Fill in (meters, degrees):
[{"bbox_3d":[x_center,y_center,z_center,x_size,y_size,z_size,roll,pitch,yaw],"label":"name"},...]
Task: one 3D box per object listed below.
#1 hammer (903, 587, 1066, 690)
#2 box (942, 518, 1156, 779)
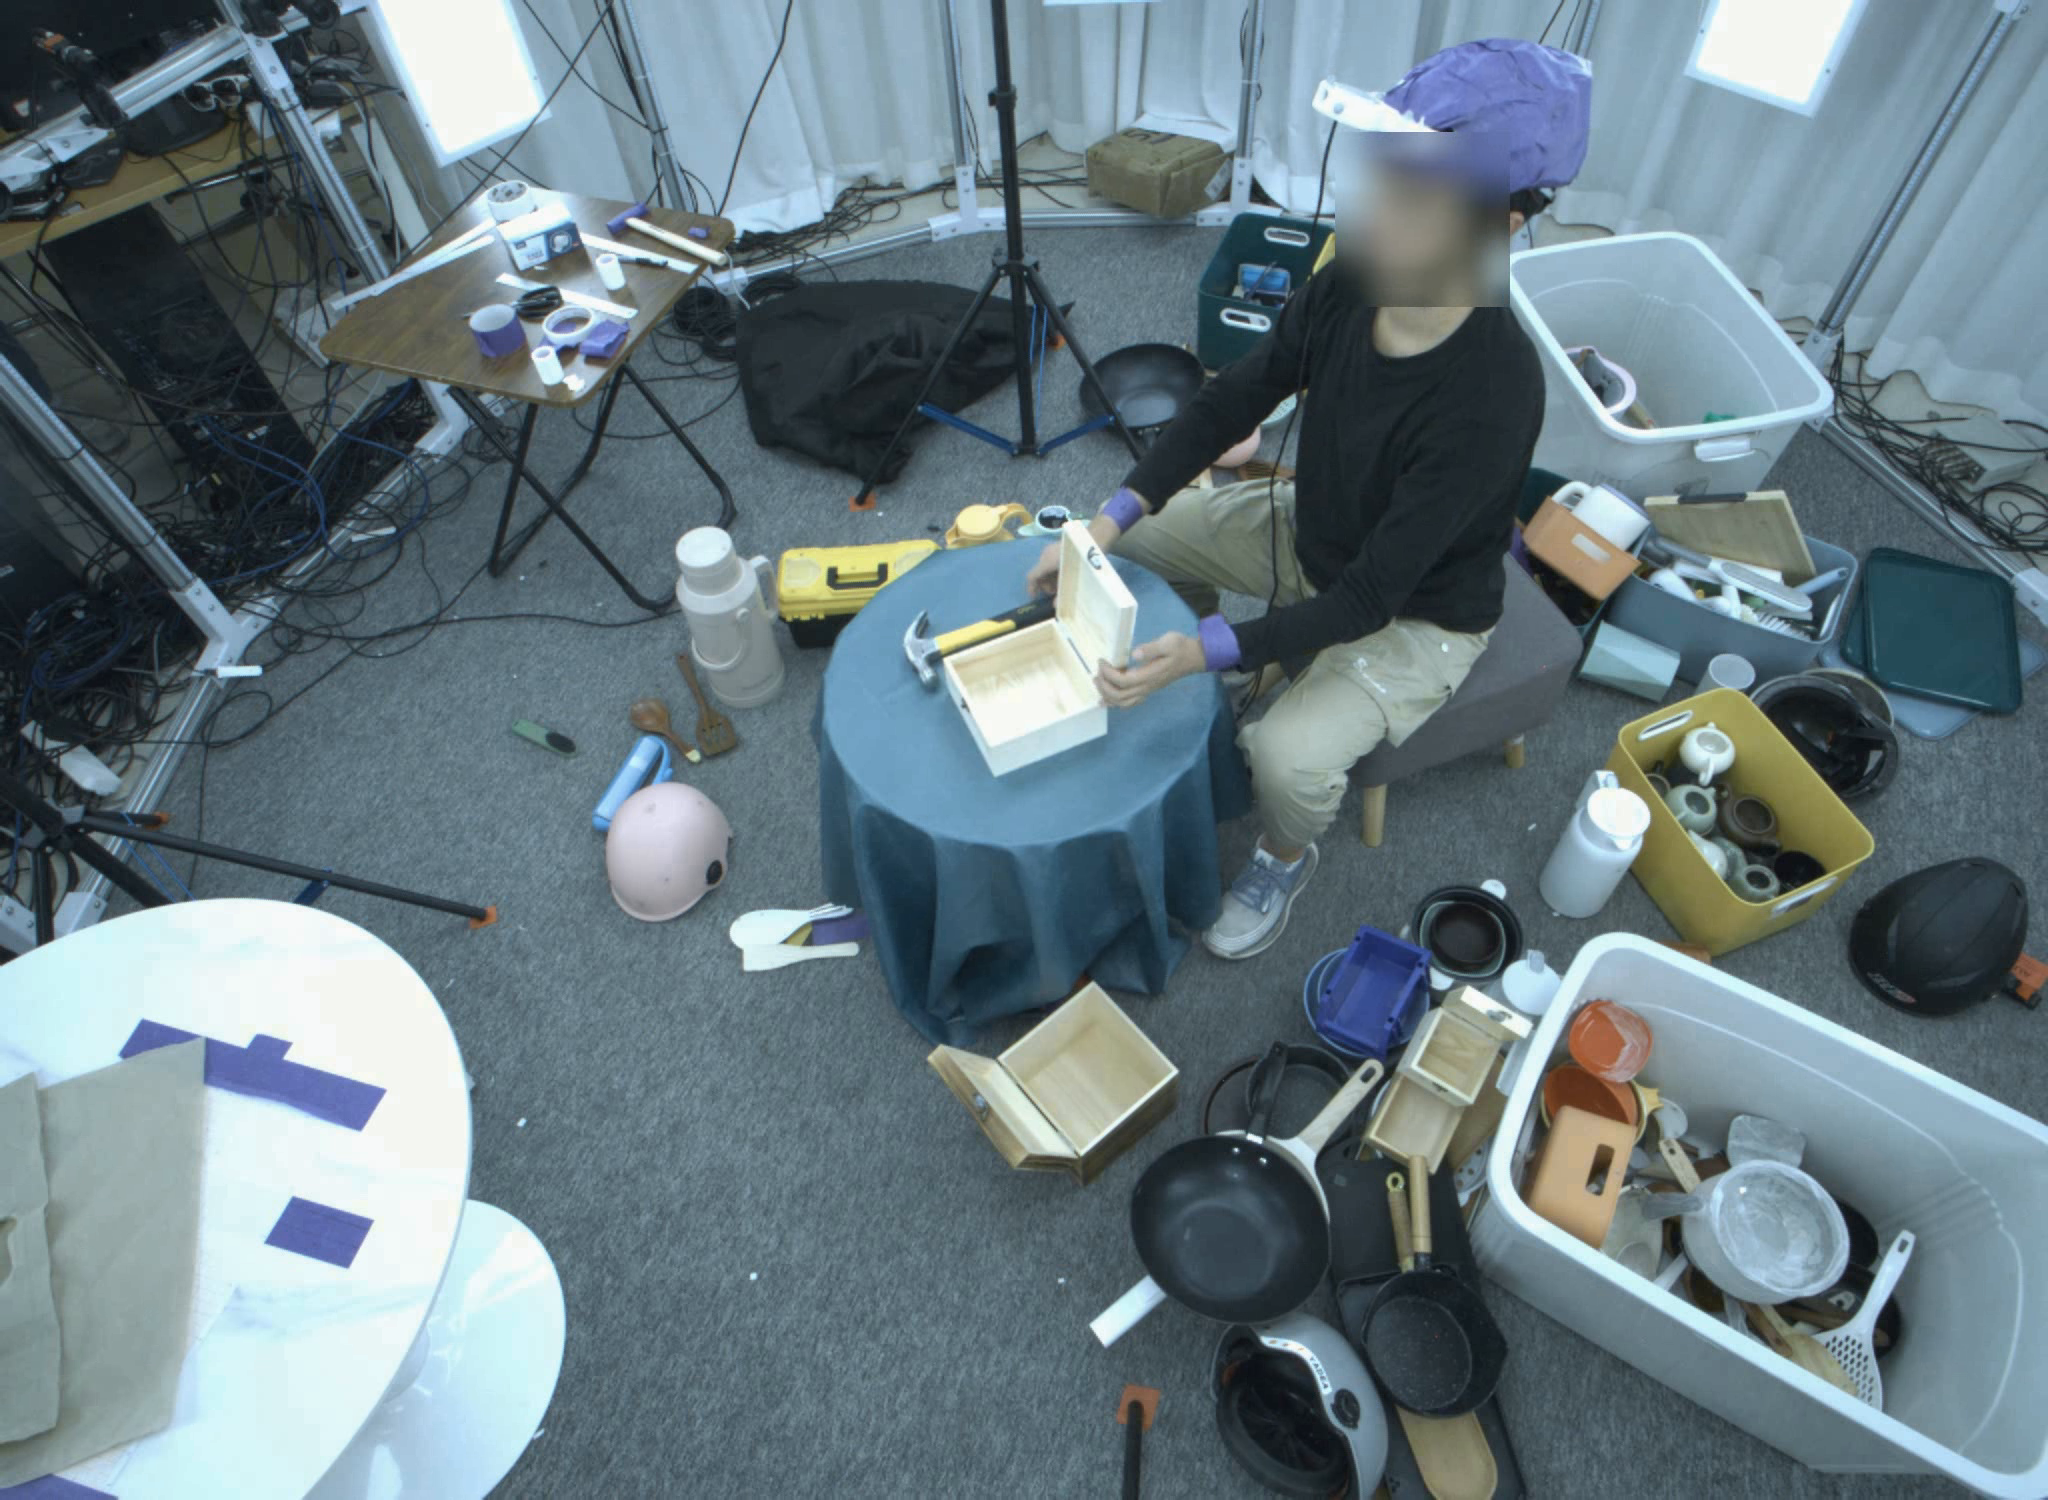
[{"bbox_3d":[-0.026,-0.203,1.906,0.341,0.032,0.129,-21,57,-11],"label":"hammer"},{"bbox_3d":[0.026,-0.143,1.730,0.267,0.256,0.178,-22,54,-13],"label":"box"}]
